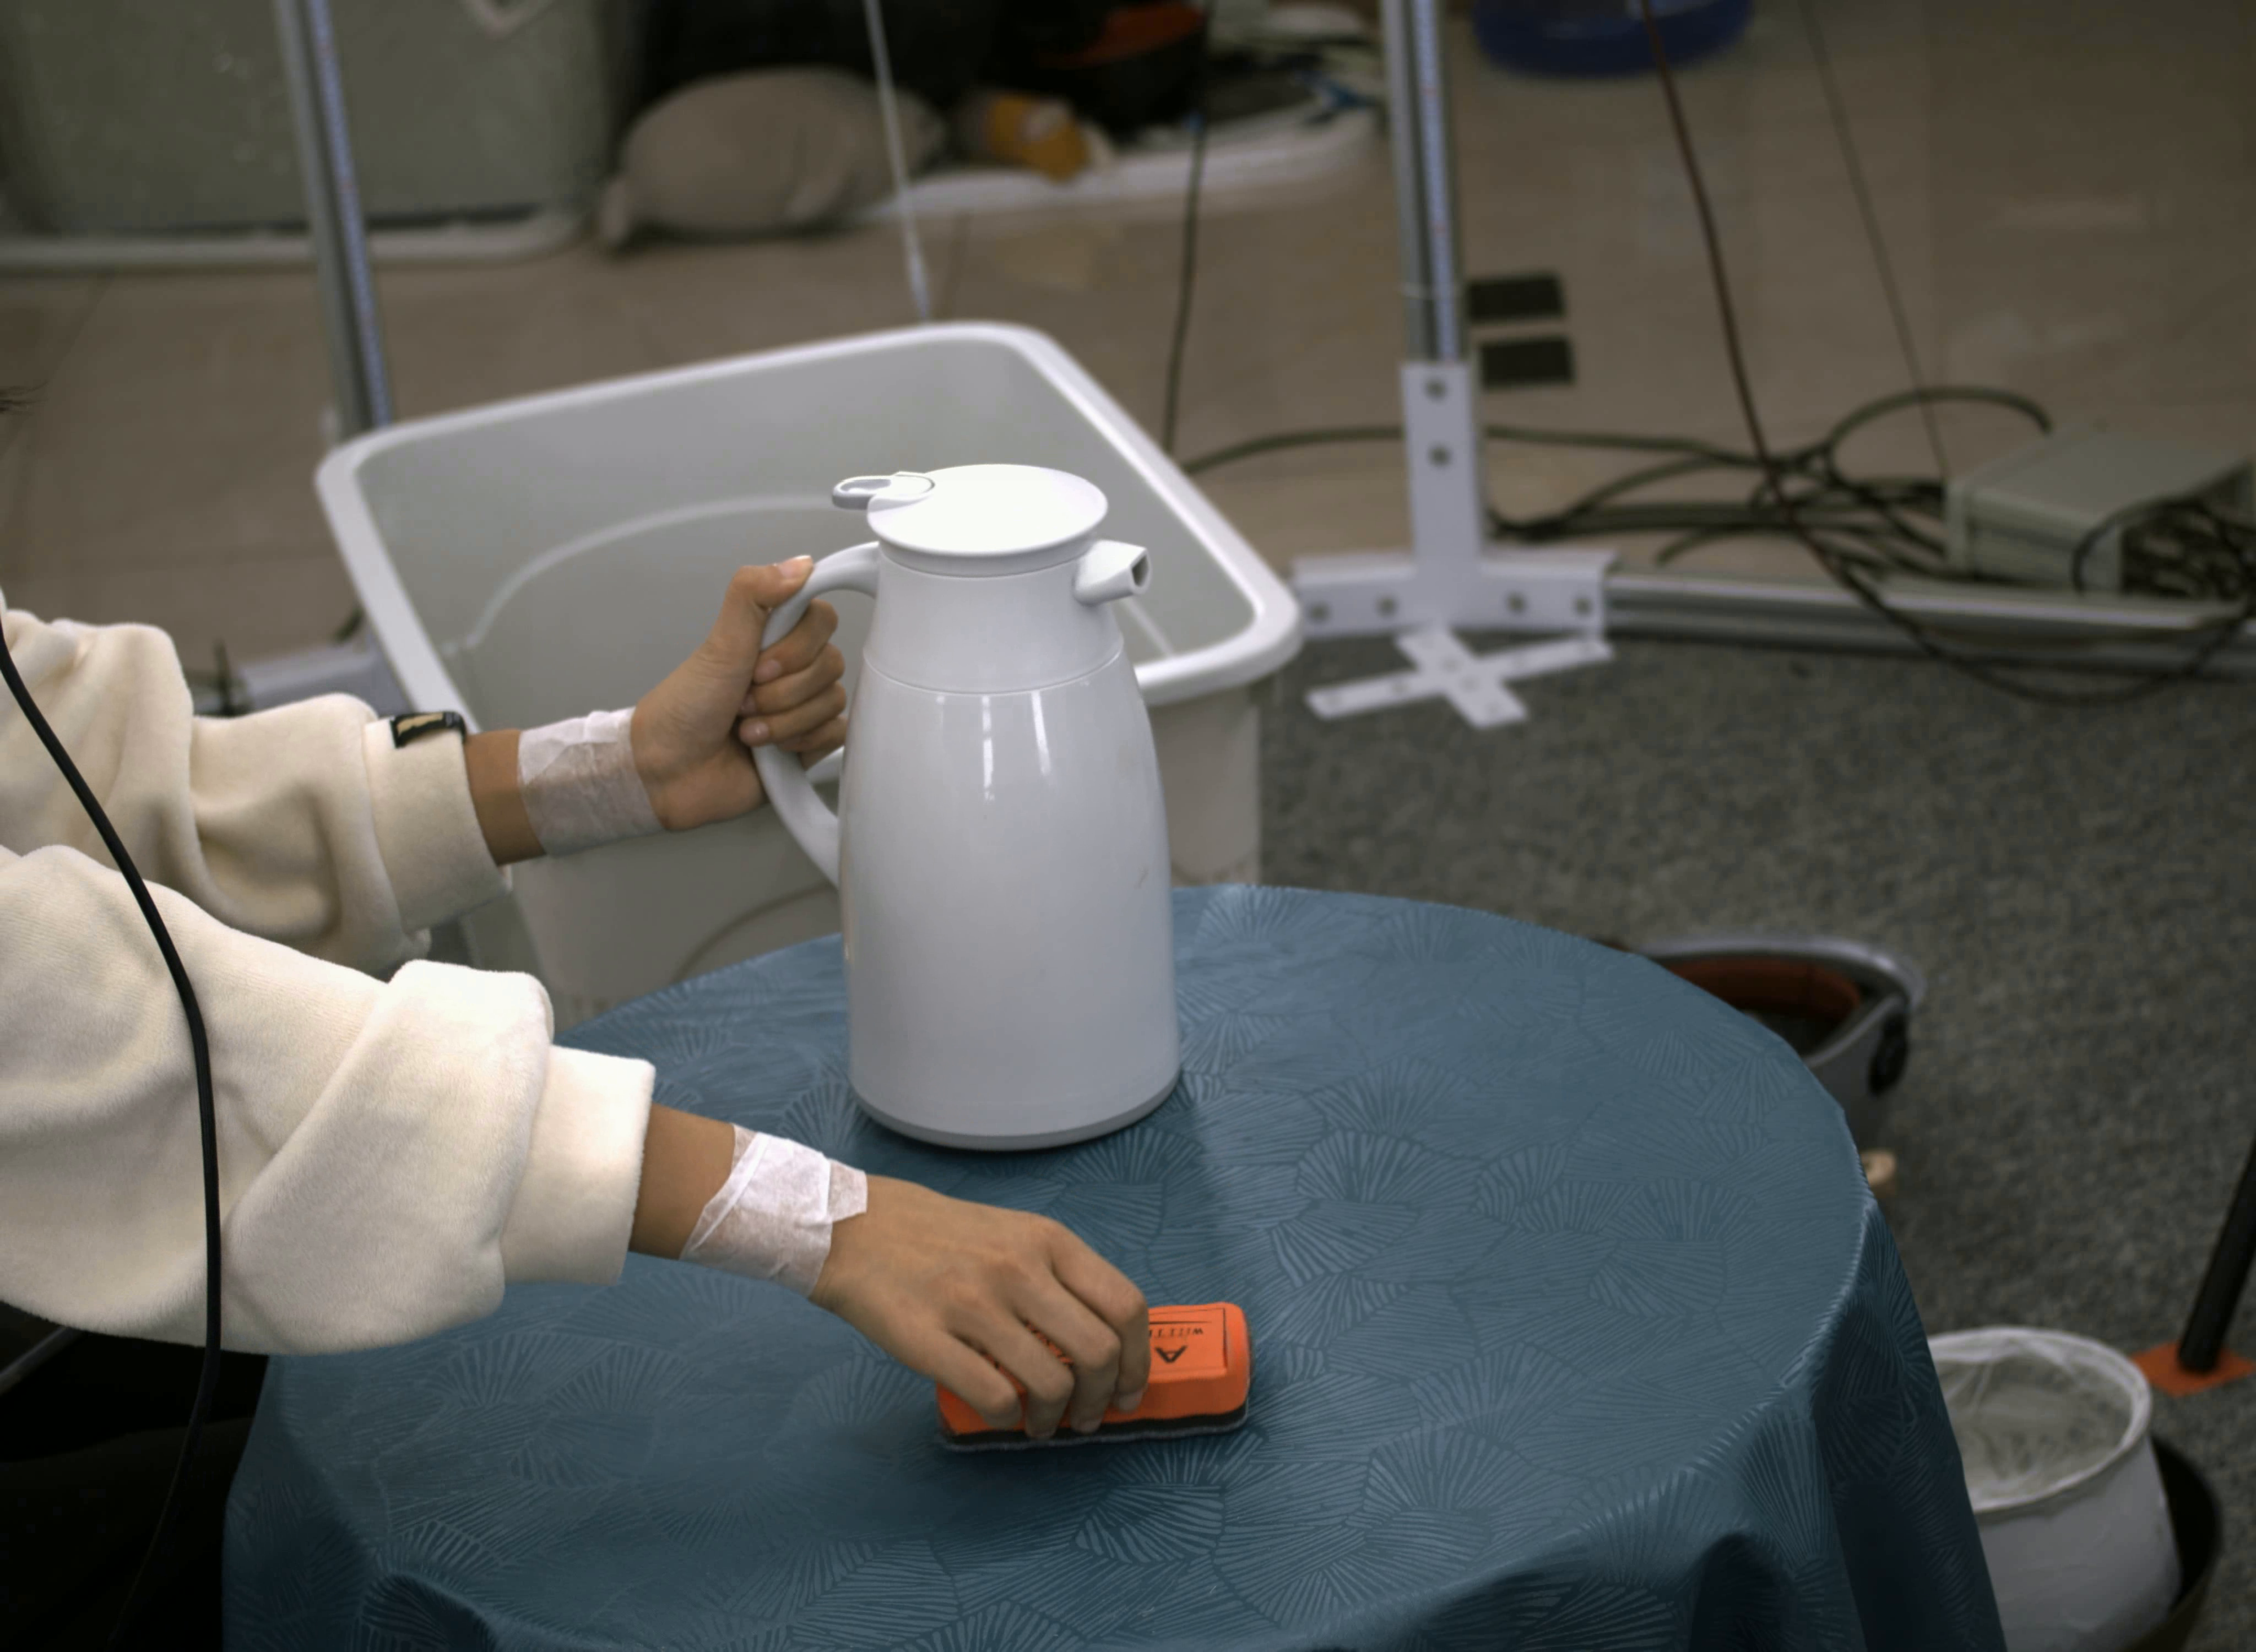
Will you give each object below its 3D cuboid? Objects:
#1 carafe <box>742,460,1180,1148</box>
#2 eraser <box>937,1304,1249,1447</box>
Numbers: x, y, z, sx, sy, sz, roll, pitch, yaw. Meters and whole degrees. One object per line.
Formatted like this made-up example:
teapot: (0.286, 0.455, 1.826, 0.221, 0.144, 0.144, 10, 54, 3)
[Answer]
carafe: (-0.068, -0.017, 2.186, 0.167, 0.252, 0.131, 6, 26, 19)
eraser: (-0.012, 0.193, 2.003, 0.108, 0.023, 0.058, -5, 20, 4)
